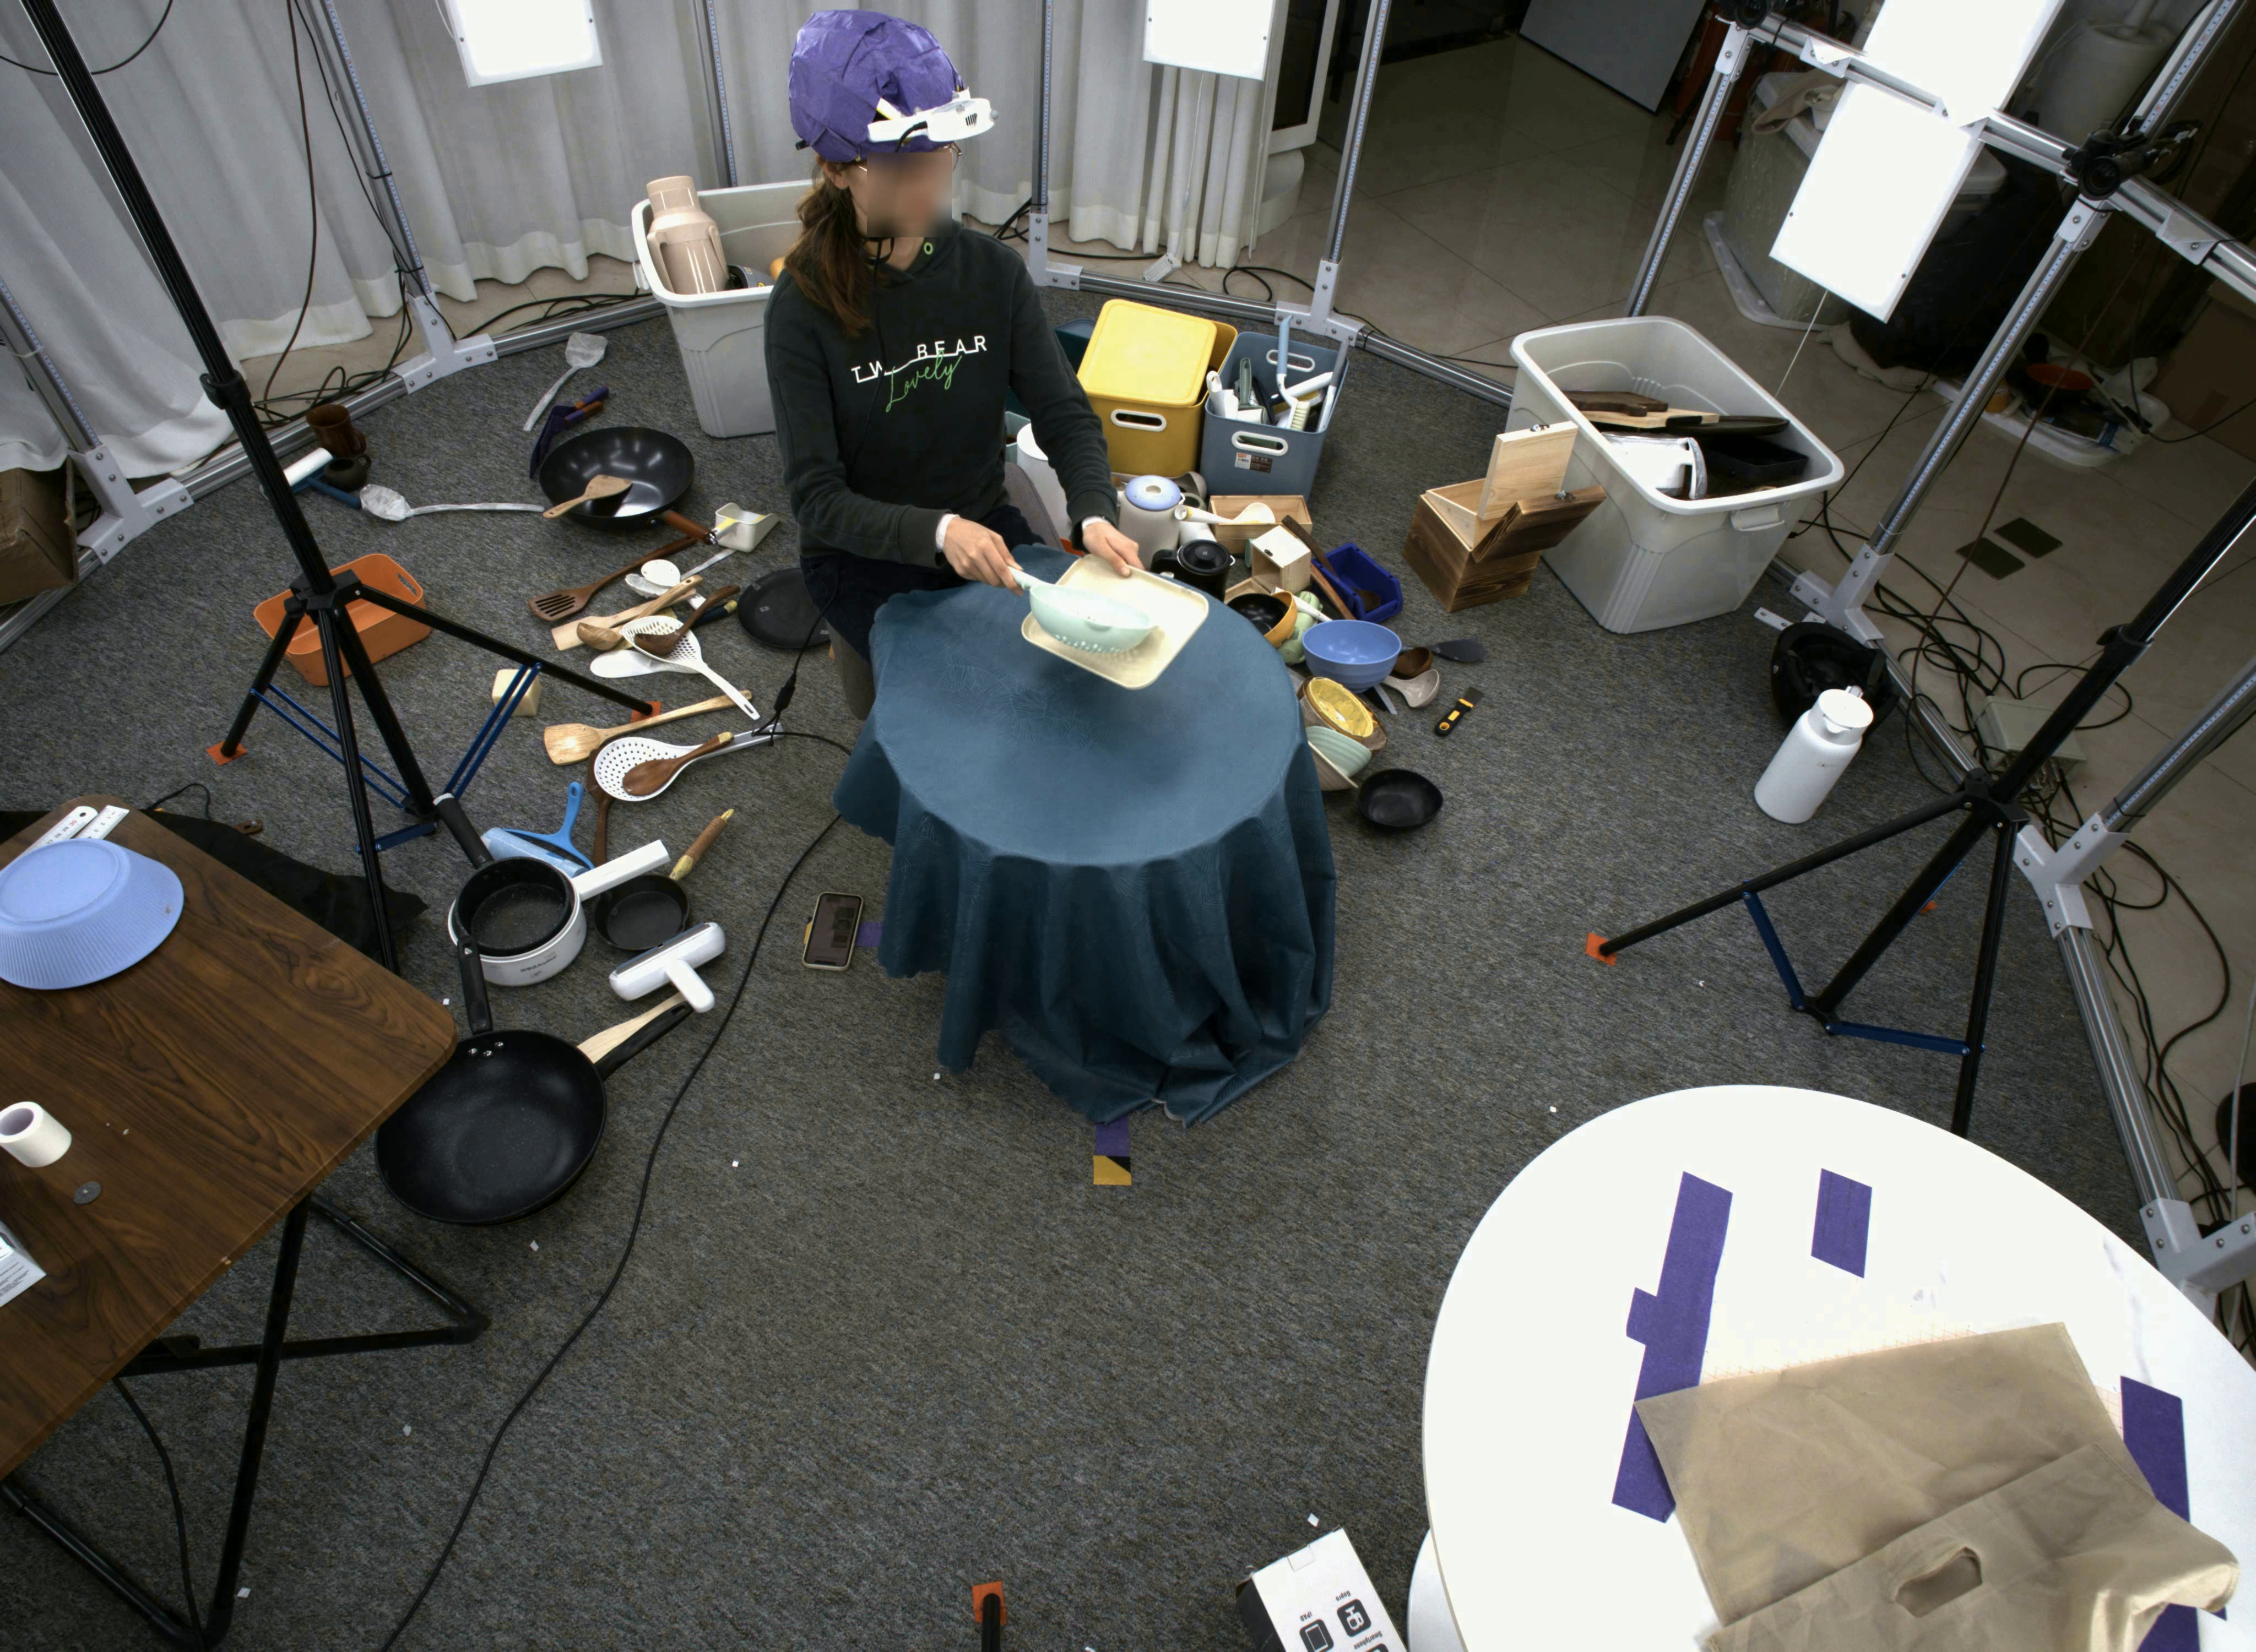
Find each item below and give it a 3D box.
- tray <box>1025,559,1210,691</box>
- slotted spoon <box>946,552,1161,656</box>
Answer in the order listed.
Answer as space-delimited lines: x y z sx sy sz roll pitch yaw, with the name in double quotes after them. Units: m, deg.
-0.016 -0.277 1.762 0.243 0.017 0.173 27 70 34 "tray"
-0.122 -0.316 1.754 0.364 0.074 0.169 37 27 30 "slotted spoon"
